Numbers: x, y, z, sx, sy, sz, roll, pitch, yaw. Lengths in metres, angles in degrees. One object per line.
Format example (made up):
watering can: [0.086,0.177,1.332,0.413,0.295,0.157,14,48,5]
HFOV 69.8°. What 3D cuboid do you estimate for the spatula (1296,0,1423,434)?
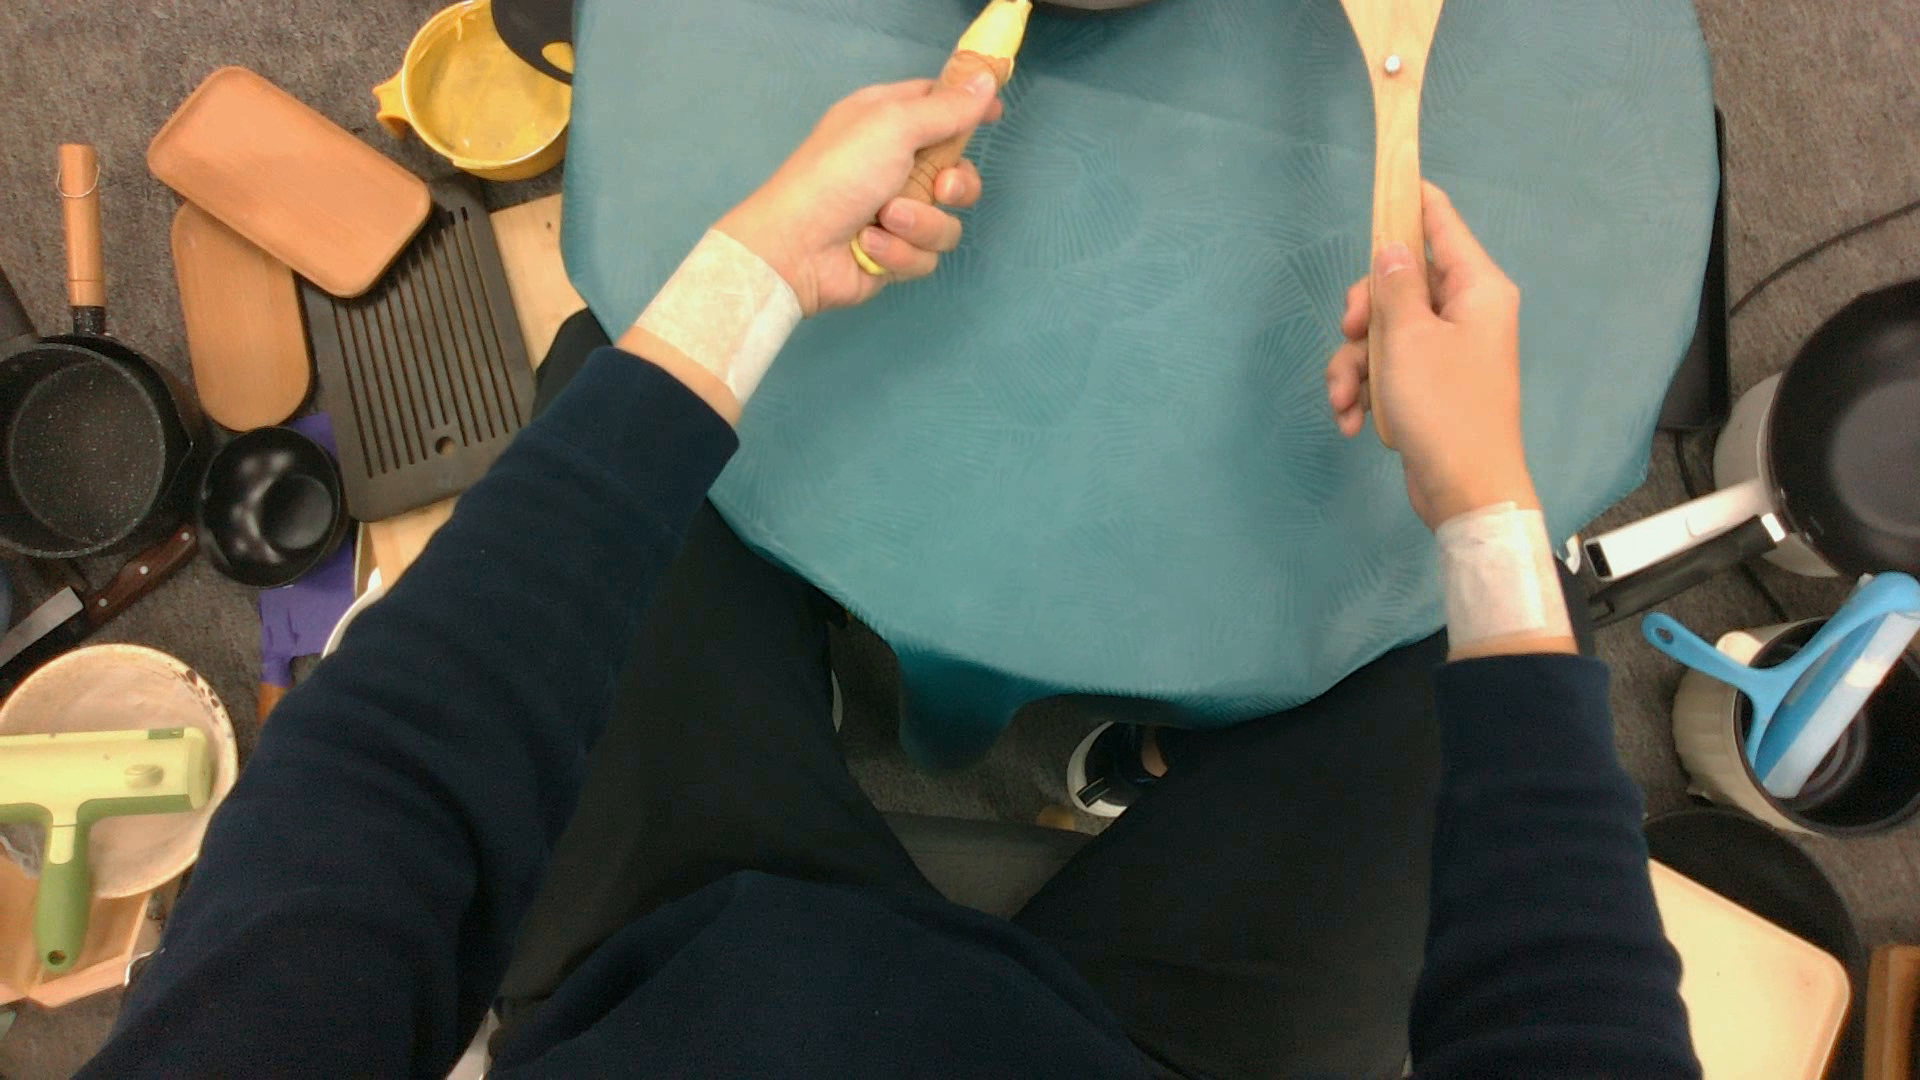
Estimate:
spatula: [0.187,-0.205,0.644,0.080,0.016,0.328,-3,73,10]

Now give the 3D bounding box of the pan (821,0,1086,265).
pan: [0.004,-0.261,0.662,0.169,0.049,0.325,24,71,0]
